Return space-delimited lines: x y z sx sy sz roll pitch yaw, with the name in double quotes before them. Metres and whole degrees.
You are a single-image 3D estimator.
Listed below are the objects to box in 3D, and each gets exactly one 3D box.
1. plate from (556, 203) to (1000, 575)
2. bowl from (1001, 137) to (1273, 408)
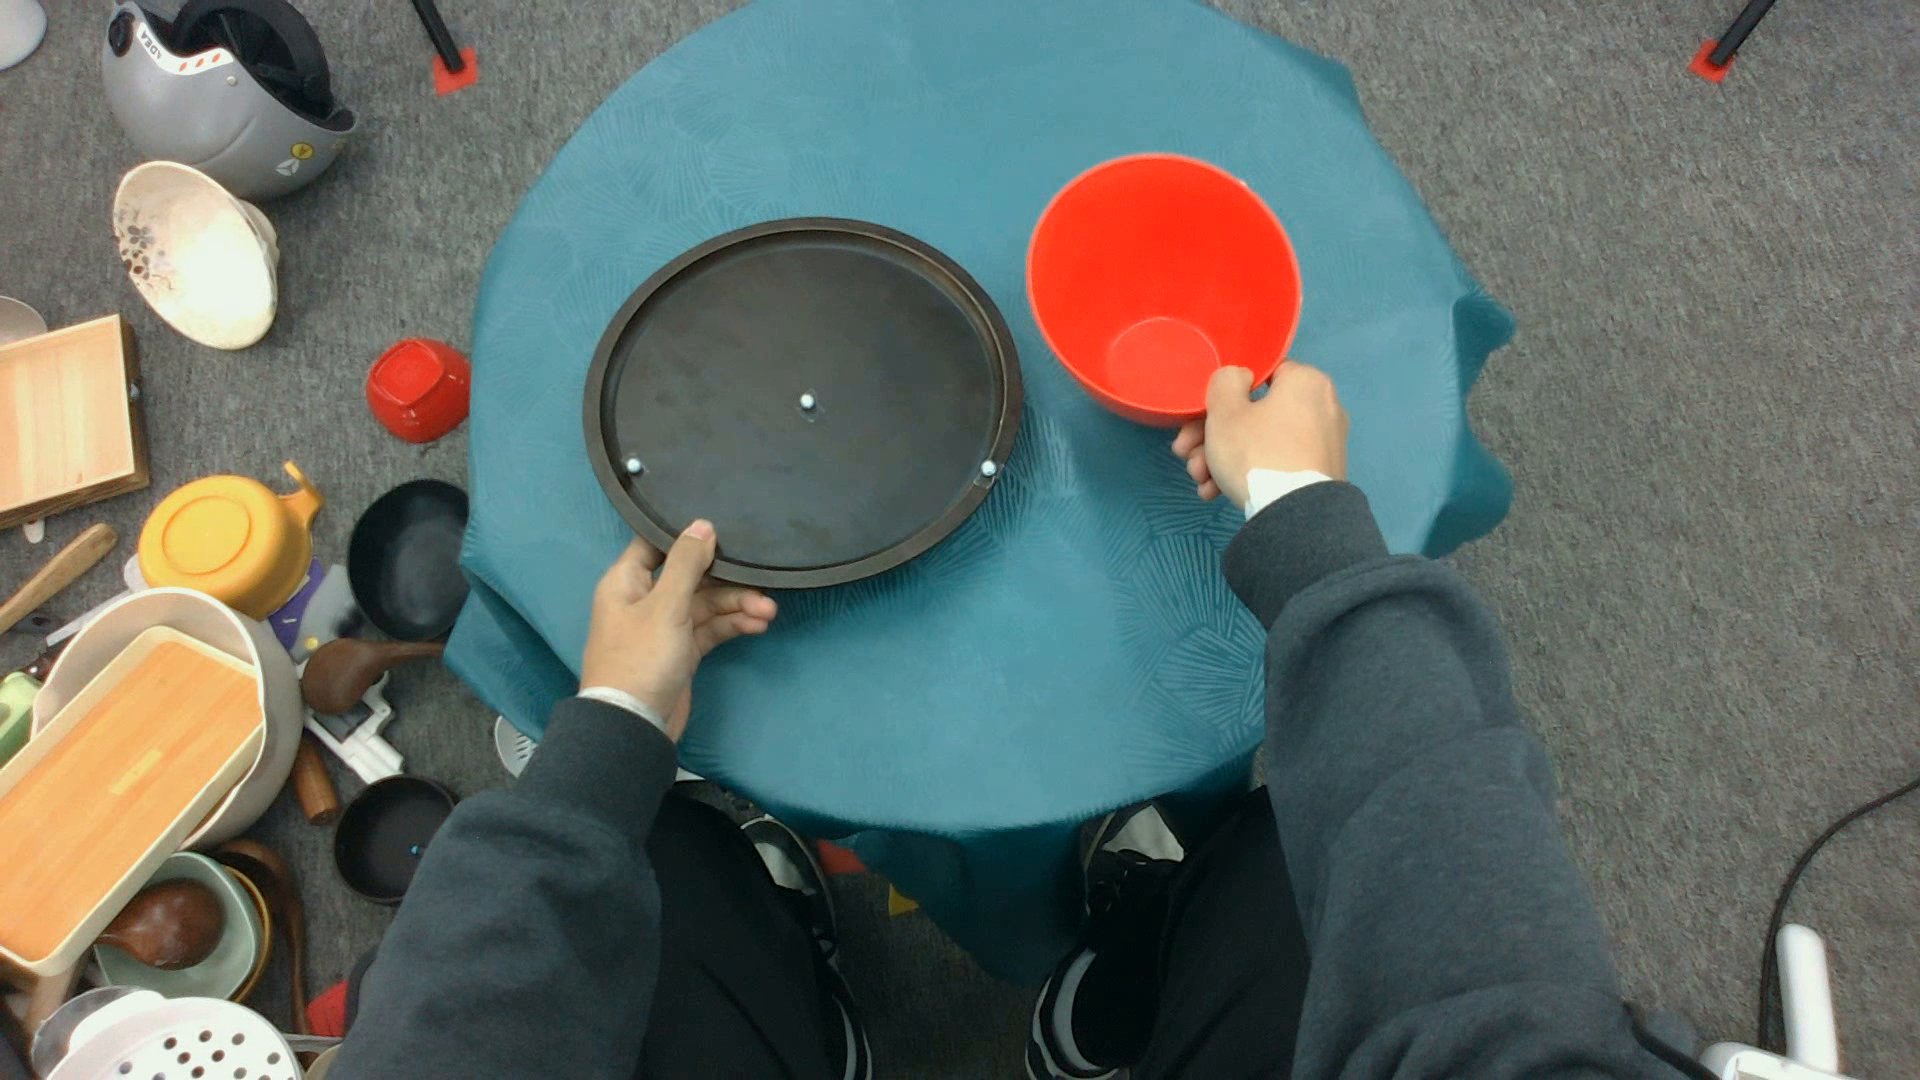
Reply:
"plate" -0.104 -0.093 0.795 0.255 0.029 0.256 1 63 -1
"bowl" 0.095 -0.135 0.771 0.148 0.104 0.148 0 68 0
